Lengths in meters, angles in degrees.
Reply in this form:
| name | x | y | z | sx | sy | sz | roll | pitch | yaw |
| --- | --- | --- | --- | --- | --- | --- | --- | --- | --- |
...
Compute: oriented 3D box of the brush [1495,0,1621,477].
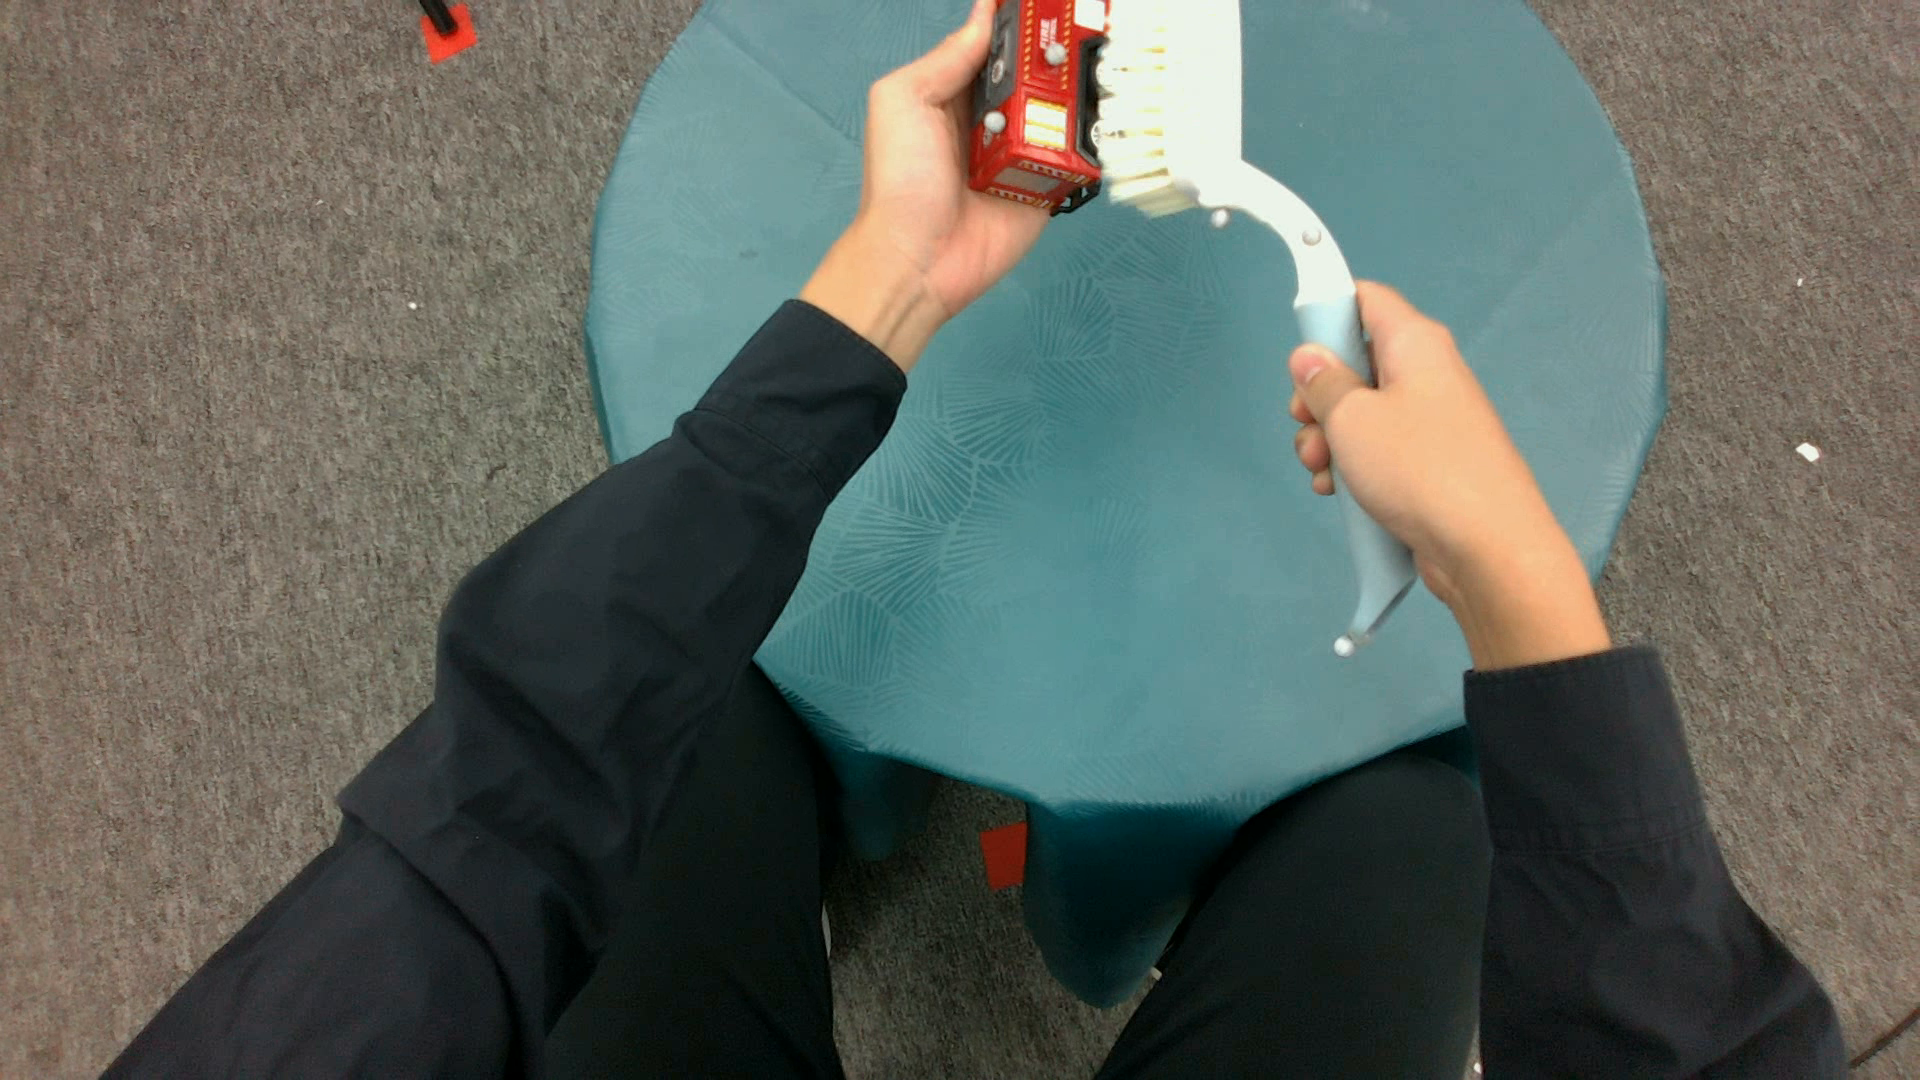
| name | x | y | z | sx | sy | sz | roll | pitch | yaw |
| --- | --- | --- | --- | --- | --- | --- | --- | --- | --- |
| brush | 0.196 | -0.188 | 0.525 | 0.083 | 0.084 | 0.325 | 3 | 94 | -22 |
